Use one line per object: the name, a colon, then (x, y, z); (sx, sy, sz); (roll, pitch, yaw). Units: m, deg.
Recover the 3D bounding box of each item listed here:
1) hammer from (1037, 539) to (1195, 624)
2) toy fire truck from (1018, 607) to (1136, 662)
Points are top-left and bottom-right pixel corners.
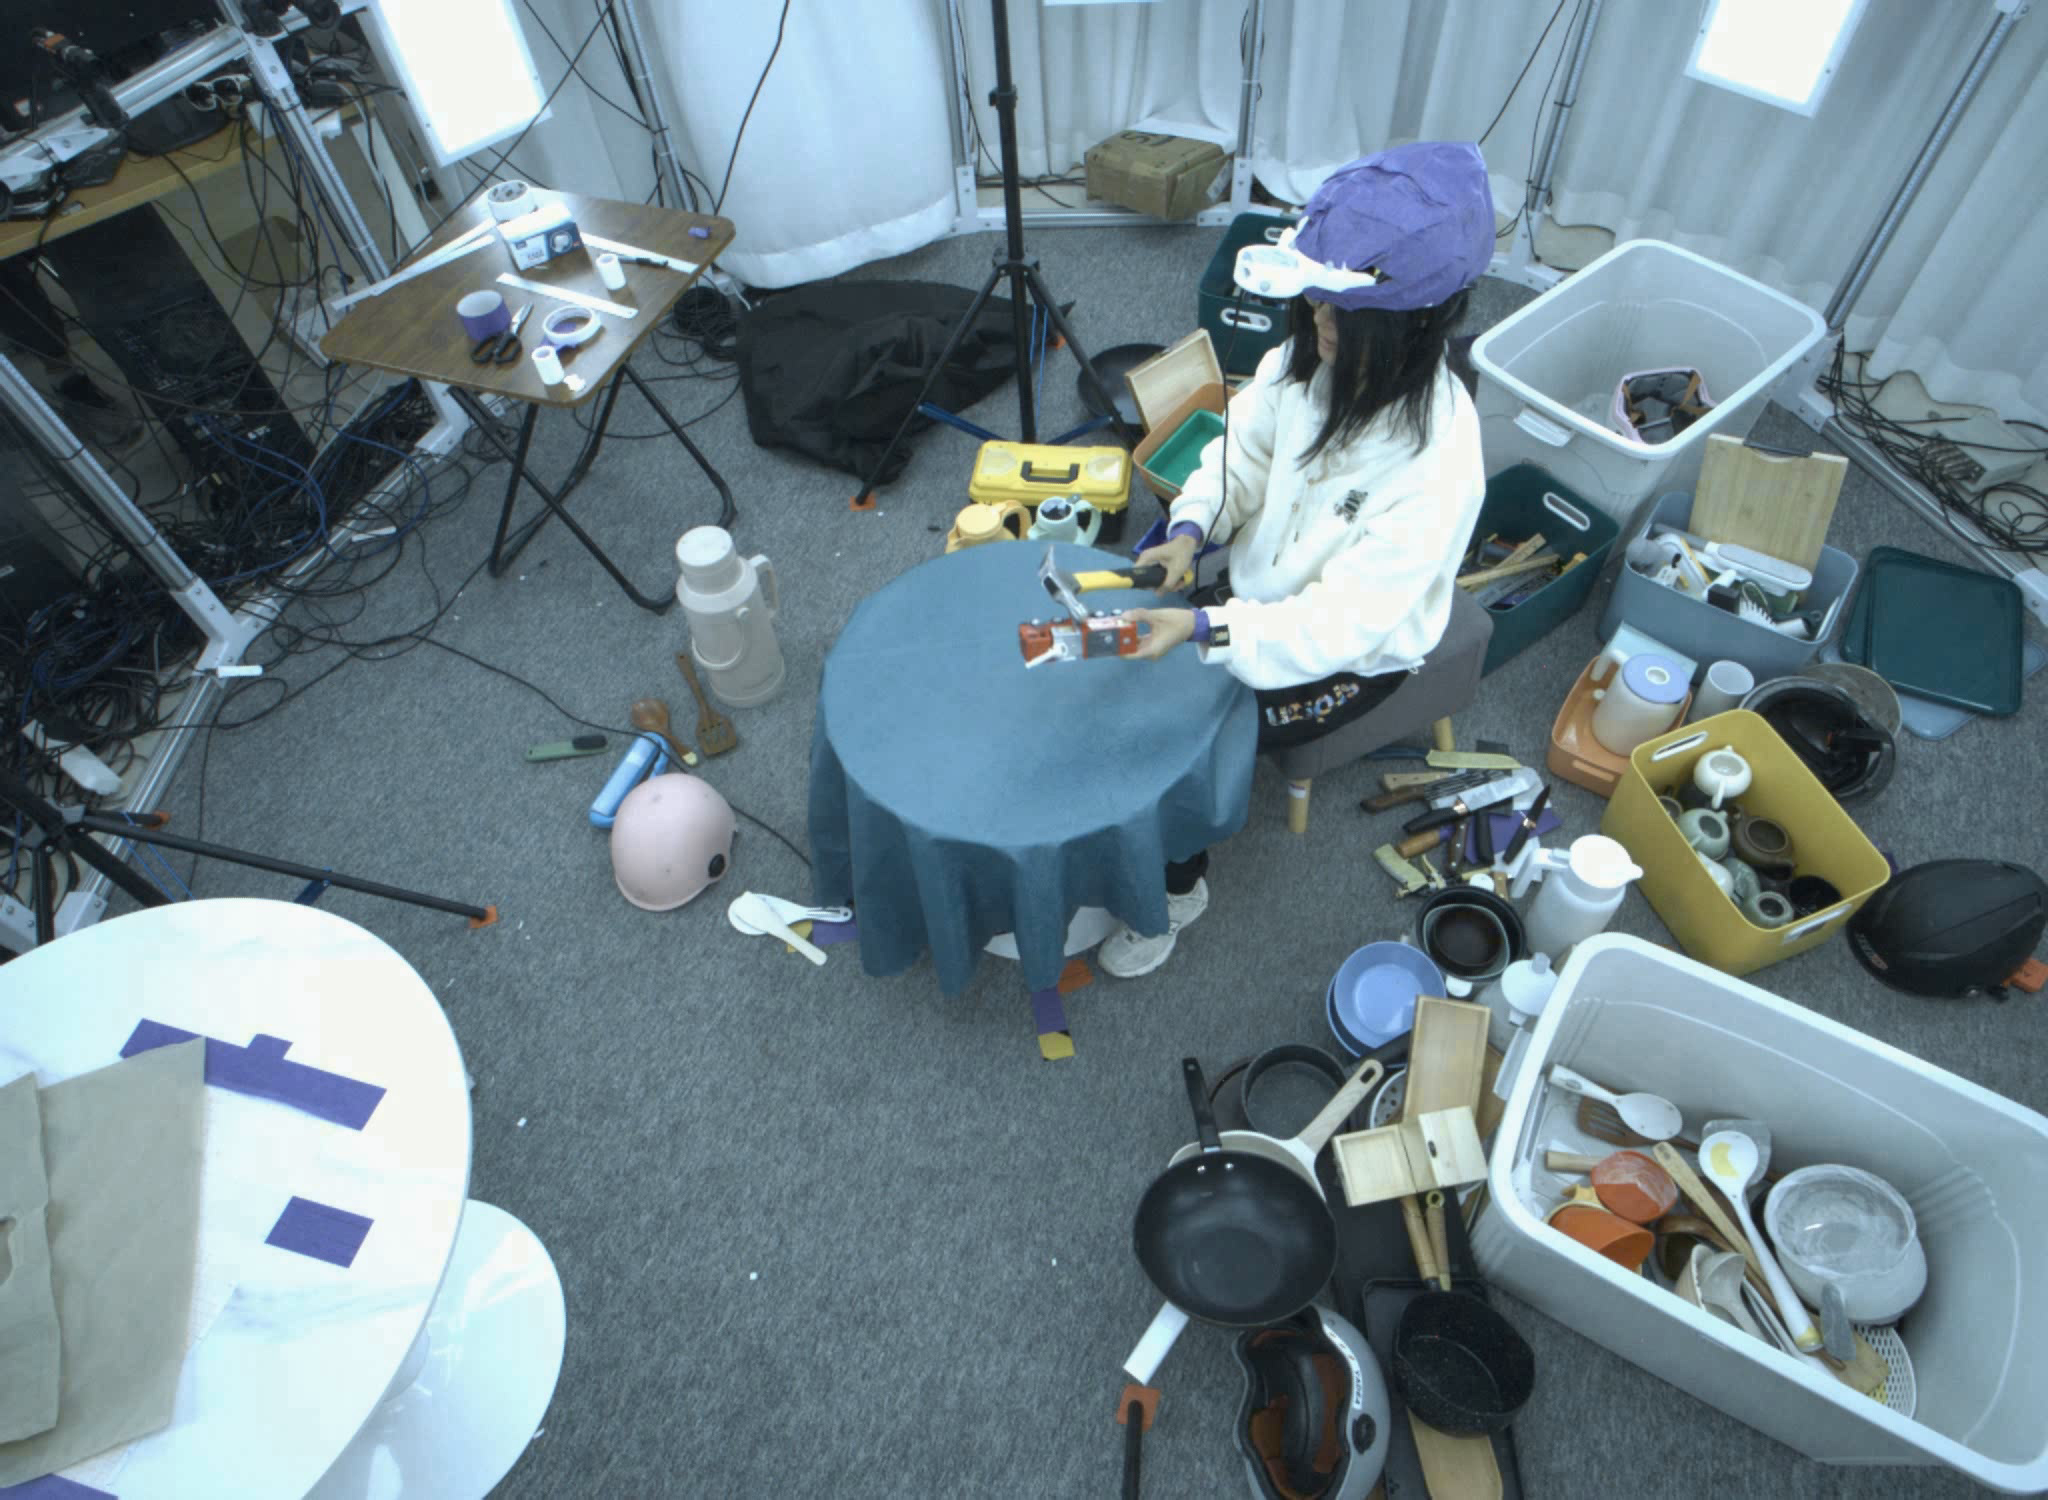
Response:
hammer: (0.145, -0.256, 1.796); (0.344, 0.032, 0.130); (-15, 64, -48)
toy fire truck: (0.074, -0.156, 1.692); (0.169, 0.054, 0.069); (-8, 38, -9)
